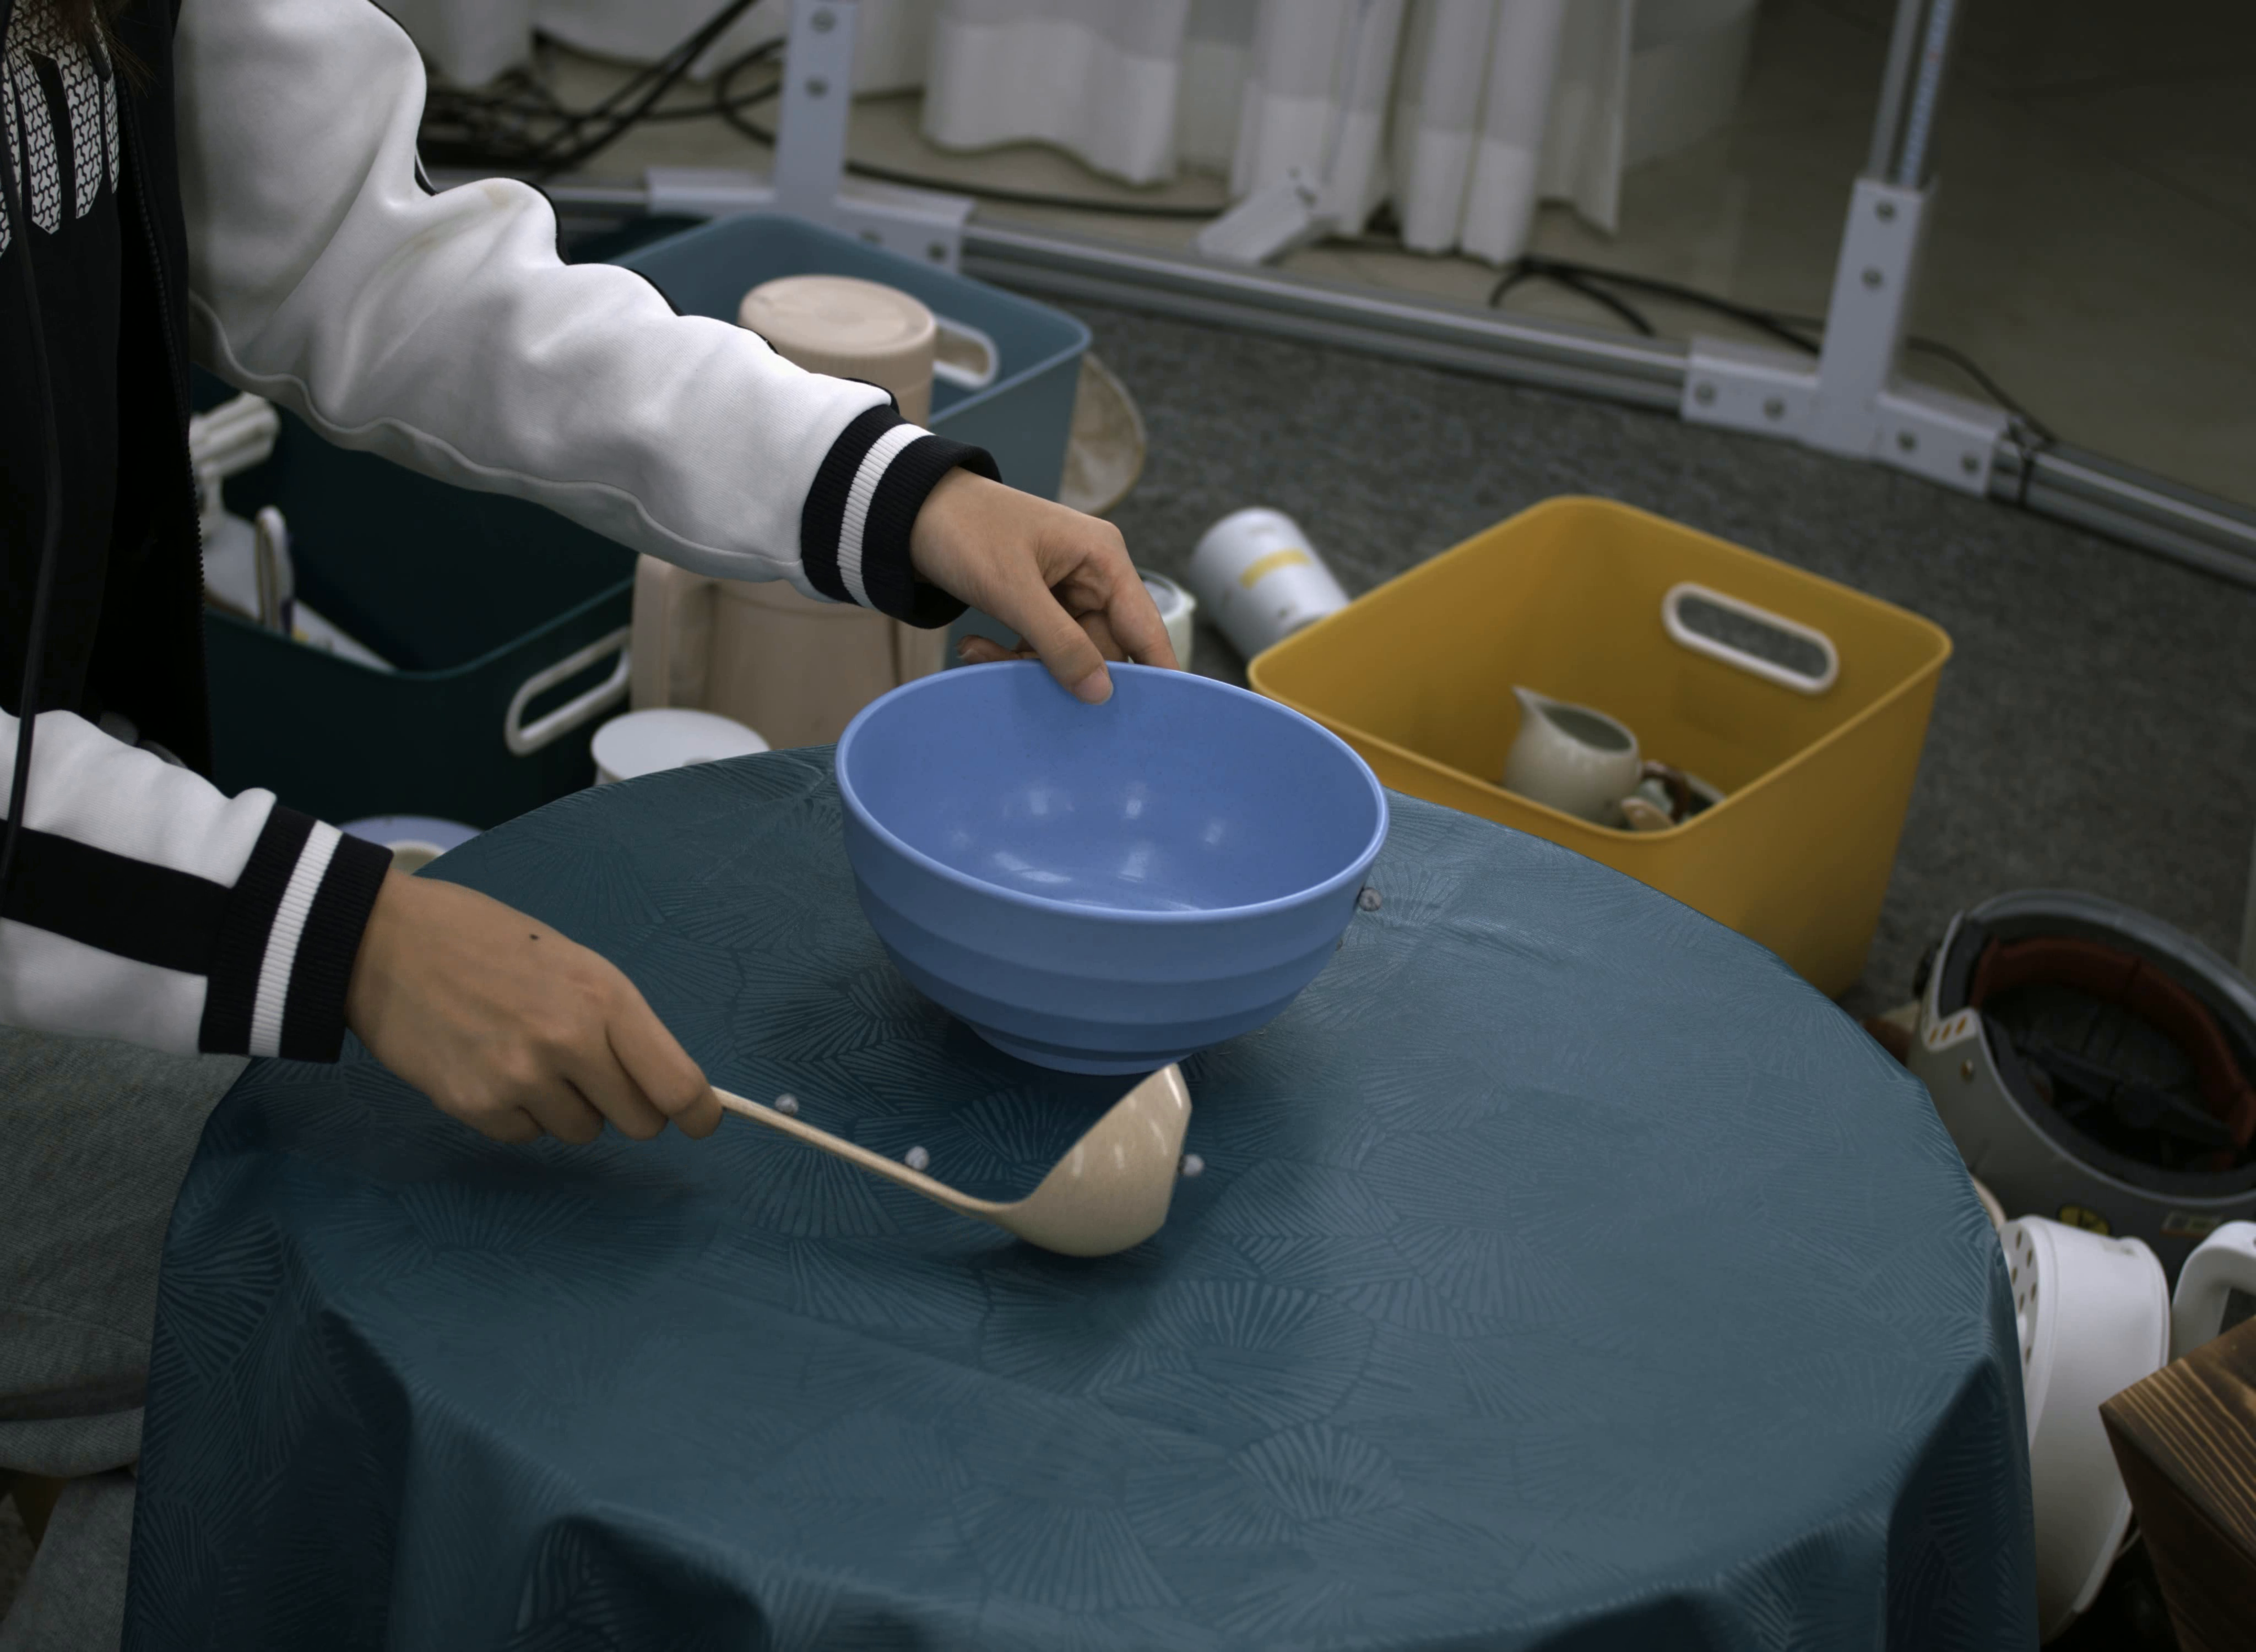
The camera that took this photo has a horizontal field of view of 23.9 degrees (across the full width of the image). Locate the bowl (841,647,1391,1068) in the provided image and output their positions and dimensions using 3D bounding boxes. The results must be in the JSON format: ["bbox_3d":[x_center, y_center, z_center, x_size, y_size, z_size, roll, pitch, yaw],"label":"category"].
[{"bbox_3d":[-0.011,0.023,1.889,0.196,0.095,0.197,8,27,-4],"label":"bowl"}]

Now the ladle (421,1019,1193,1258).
[{"bbox_3d":[-0.102,0.075,1.758,0.254,0.073,0.072,19,-11,4],"label":"ladle"}]
